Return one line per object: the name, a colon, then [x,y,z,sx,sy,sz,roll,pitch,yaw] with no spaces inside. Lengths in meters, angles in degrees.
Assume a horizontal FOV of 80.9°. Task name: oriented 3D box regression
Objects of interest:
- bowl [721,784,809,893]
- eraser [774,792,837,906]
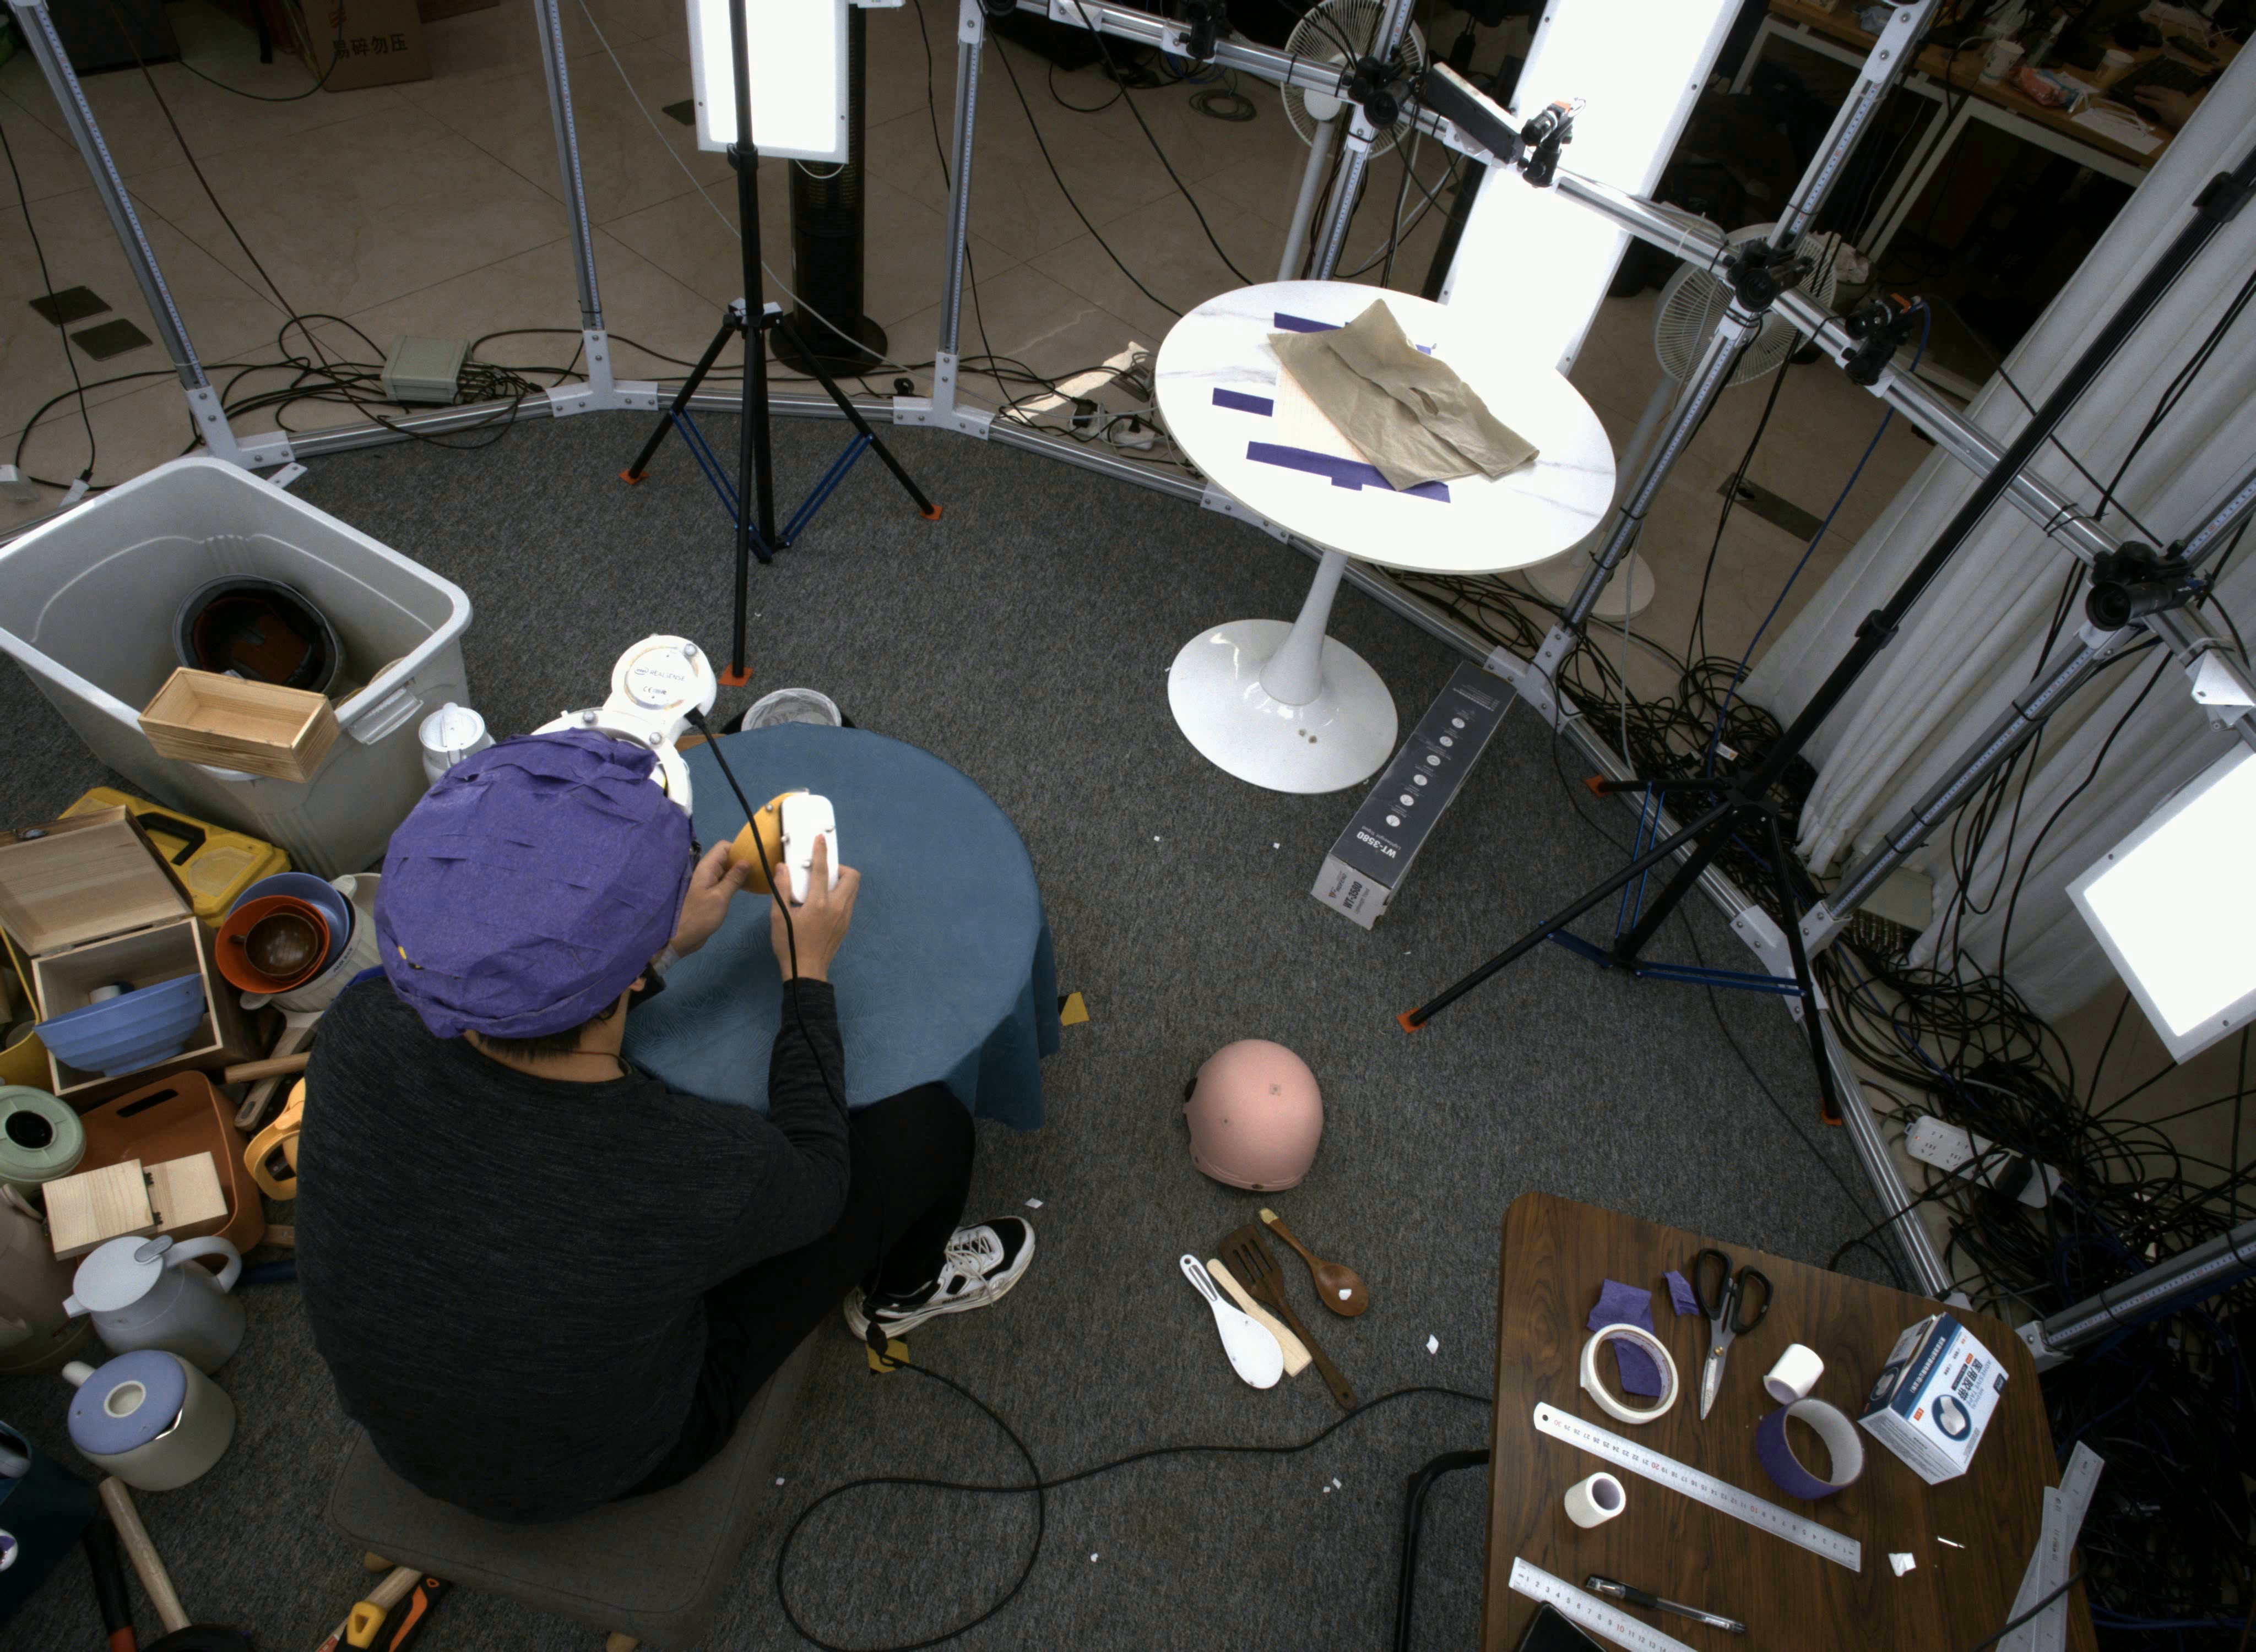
bowl: [-0.411,0.026,1.545,0.059,0.148,0.145,35,53,15]
eraser: [-0.373,0.025,1.491,0.065,0.034,0.131,4,72,-46]
